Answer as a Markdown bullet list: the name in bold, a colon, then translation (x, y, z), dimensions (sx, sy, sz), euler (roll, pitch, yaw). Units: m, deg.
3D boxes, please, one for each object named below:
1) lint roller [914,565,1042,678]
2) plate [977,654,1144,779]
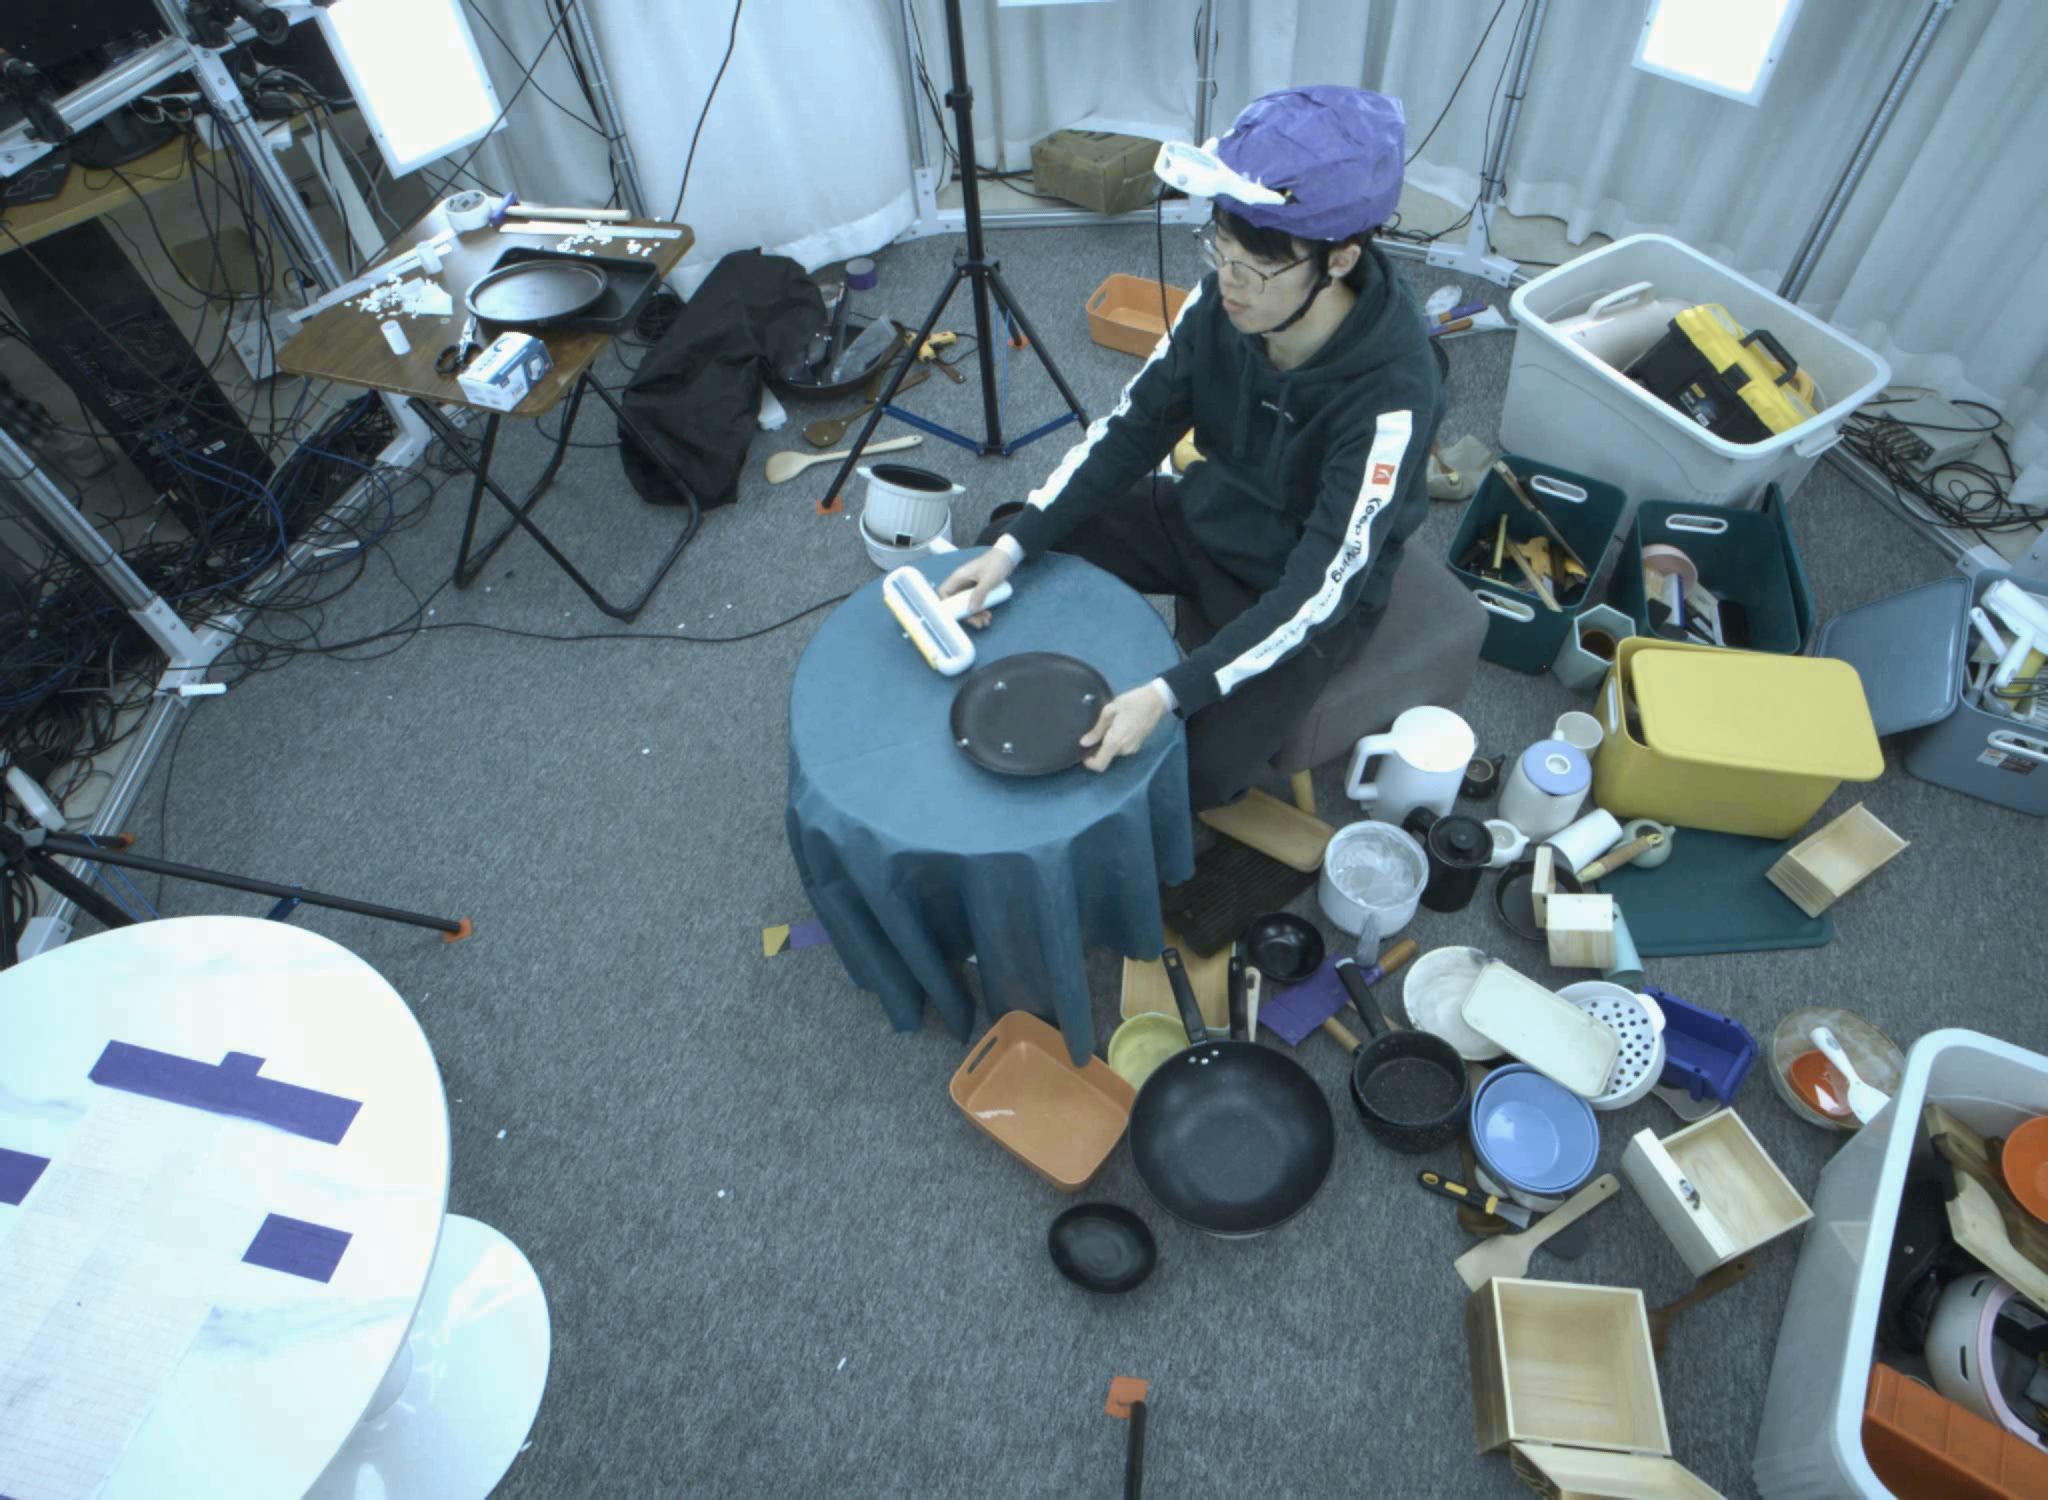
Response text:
- **lint roller**: translation (-0.055, -0.210, 1.907), dimensions (0.195, 0.074, 0.190), euler (-20, 67, -25)
- **plate**: translation (0.053, -0.046, 1.790), dimensions (0.244, 0.024, 0.242), euler (-2, 50, 4)
